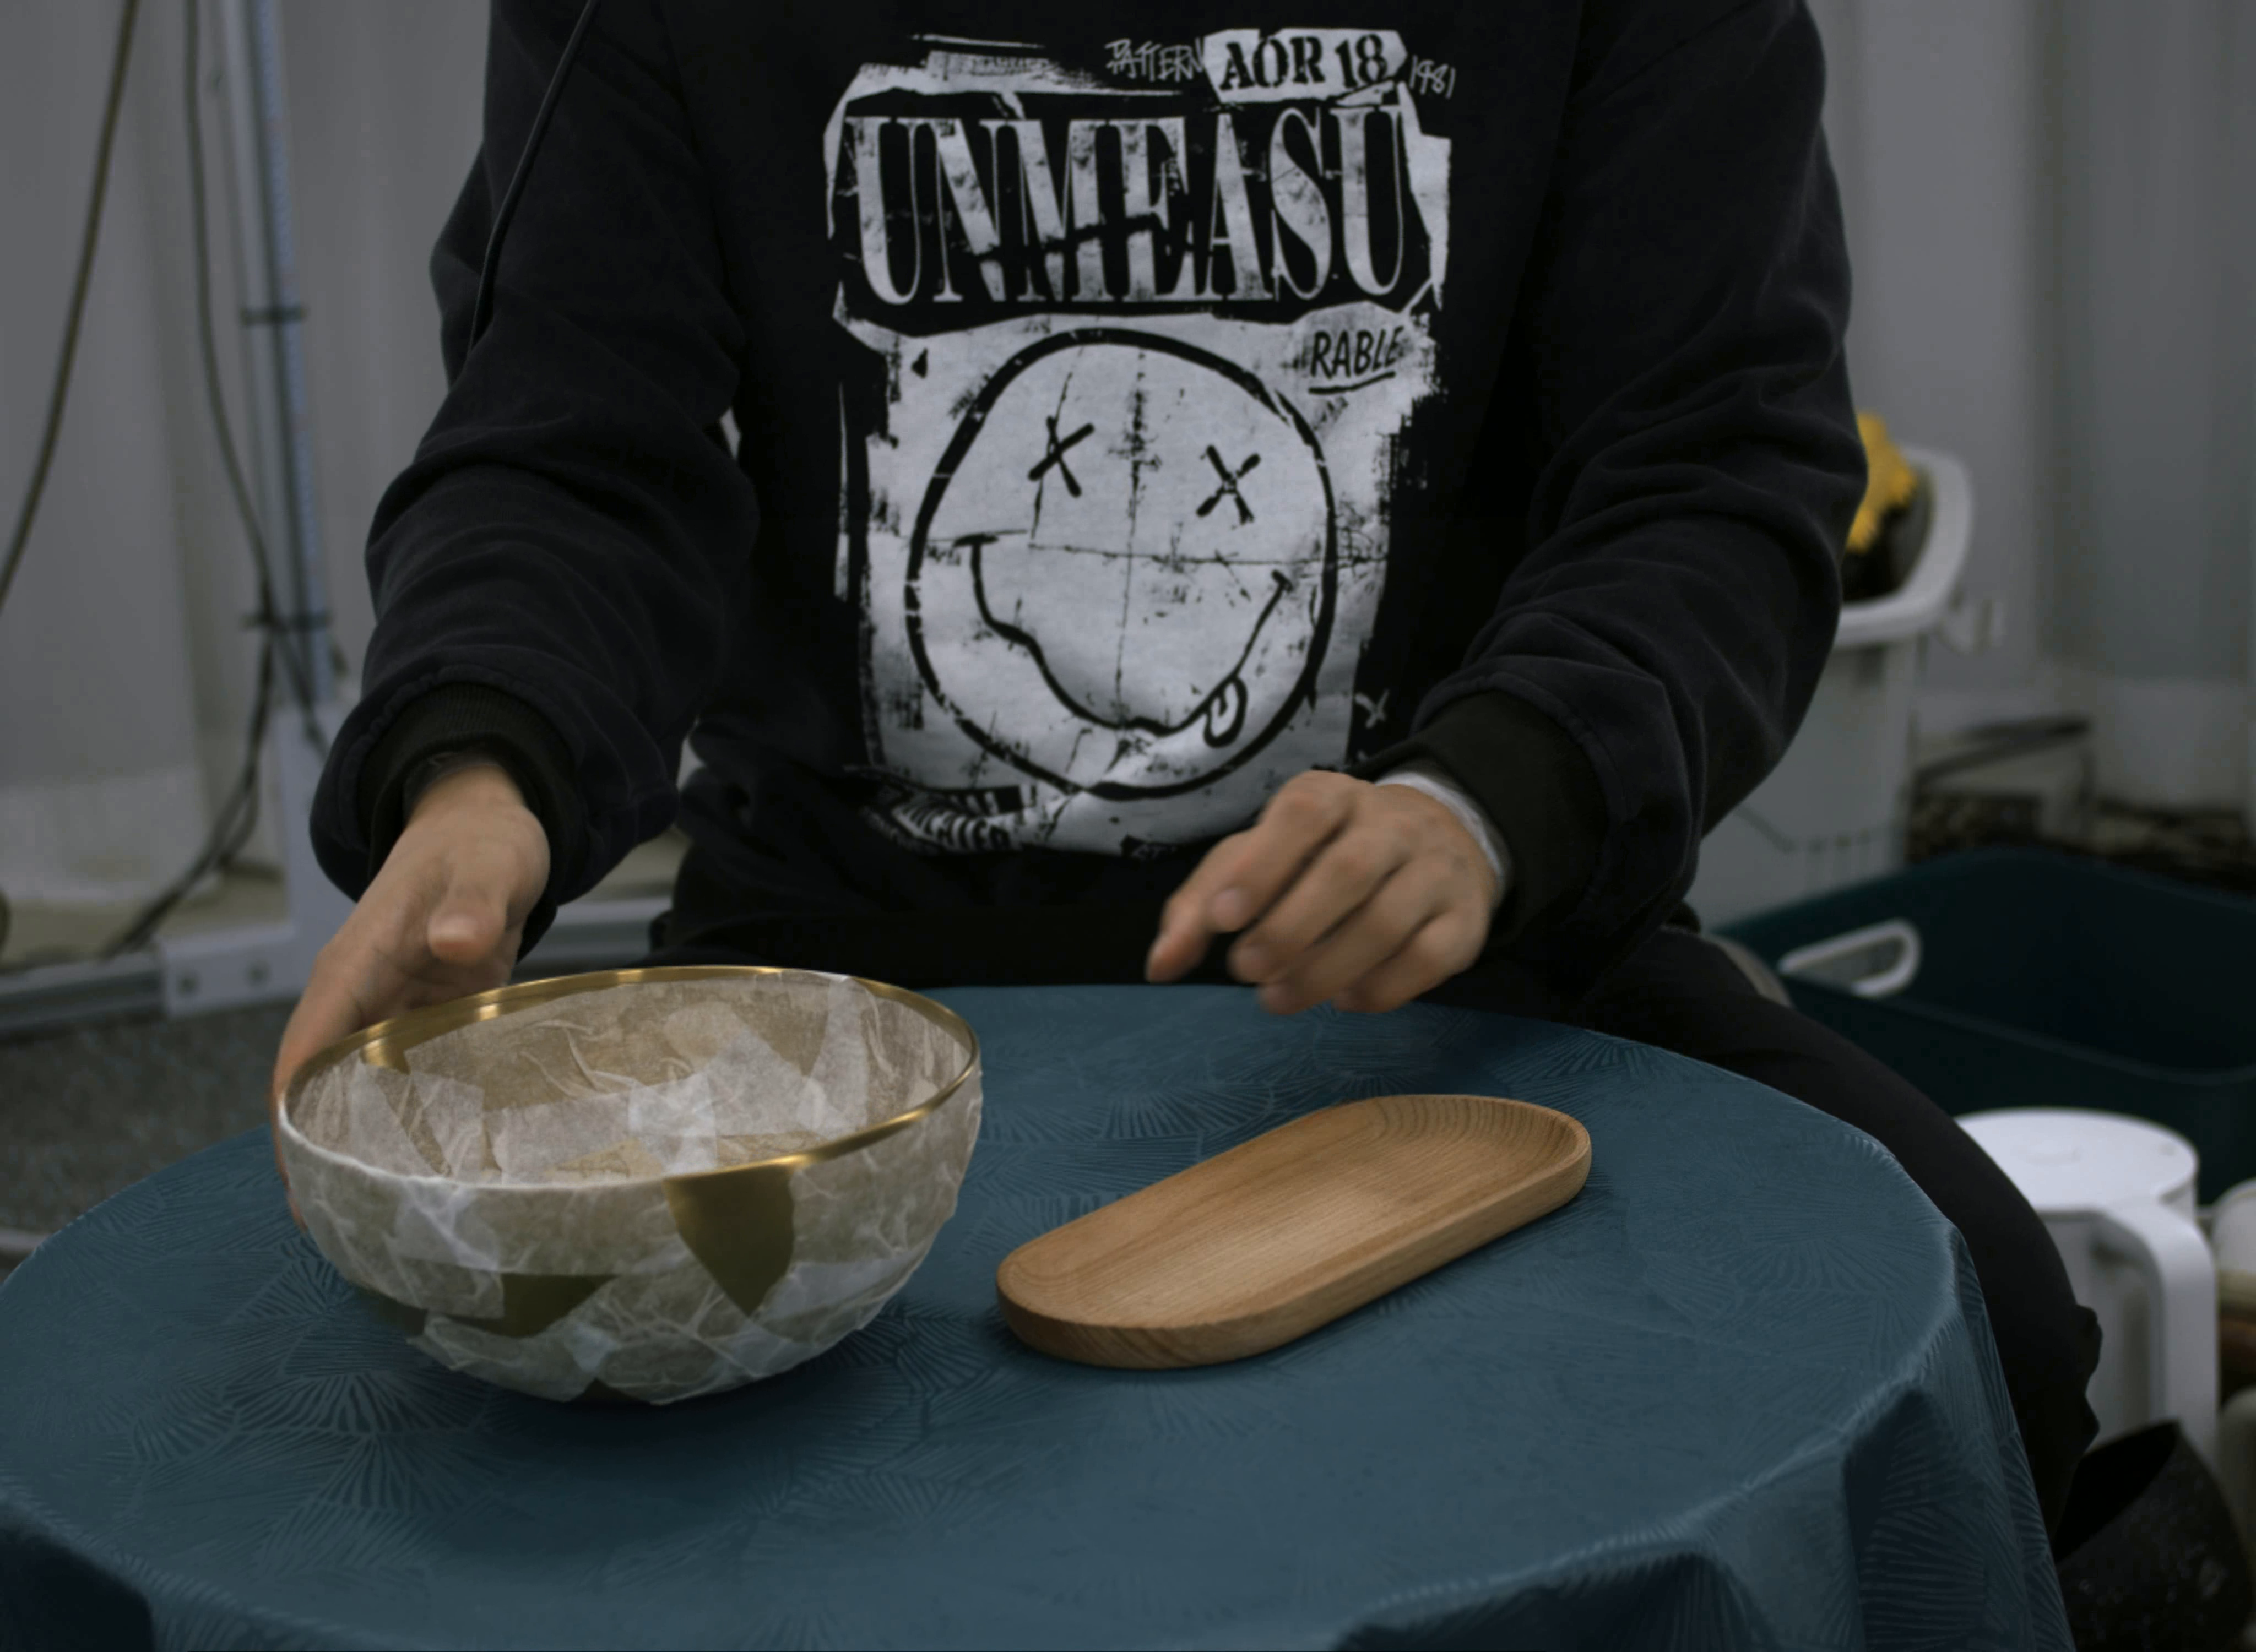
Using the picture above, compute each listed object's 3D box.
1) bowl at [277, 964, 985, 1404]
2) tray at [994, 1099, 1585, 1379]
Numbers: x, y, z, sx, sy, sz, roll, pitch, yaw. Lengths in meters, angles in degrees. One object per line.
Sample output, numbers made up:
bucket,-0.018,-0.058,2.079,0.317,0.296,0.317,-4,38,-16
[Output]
bowl,-0.136,0.111,1.576,0.214,0.094,0.216,-4,15,1
tray,0.052,0.123,1.647,0.102,0.020,0.231,6,19,38
